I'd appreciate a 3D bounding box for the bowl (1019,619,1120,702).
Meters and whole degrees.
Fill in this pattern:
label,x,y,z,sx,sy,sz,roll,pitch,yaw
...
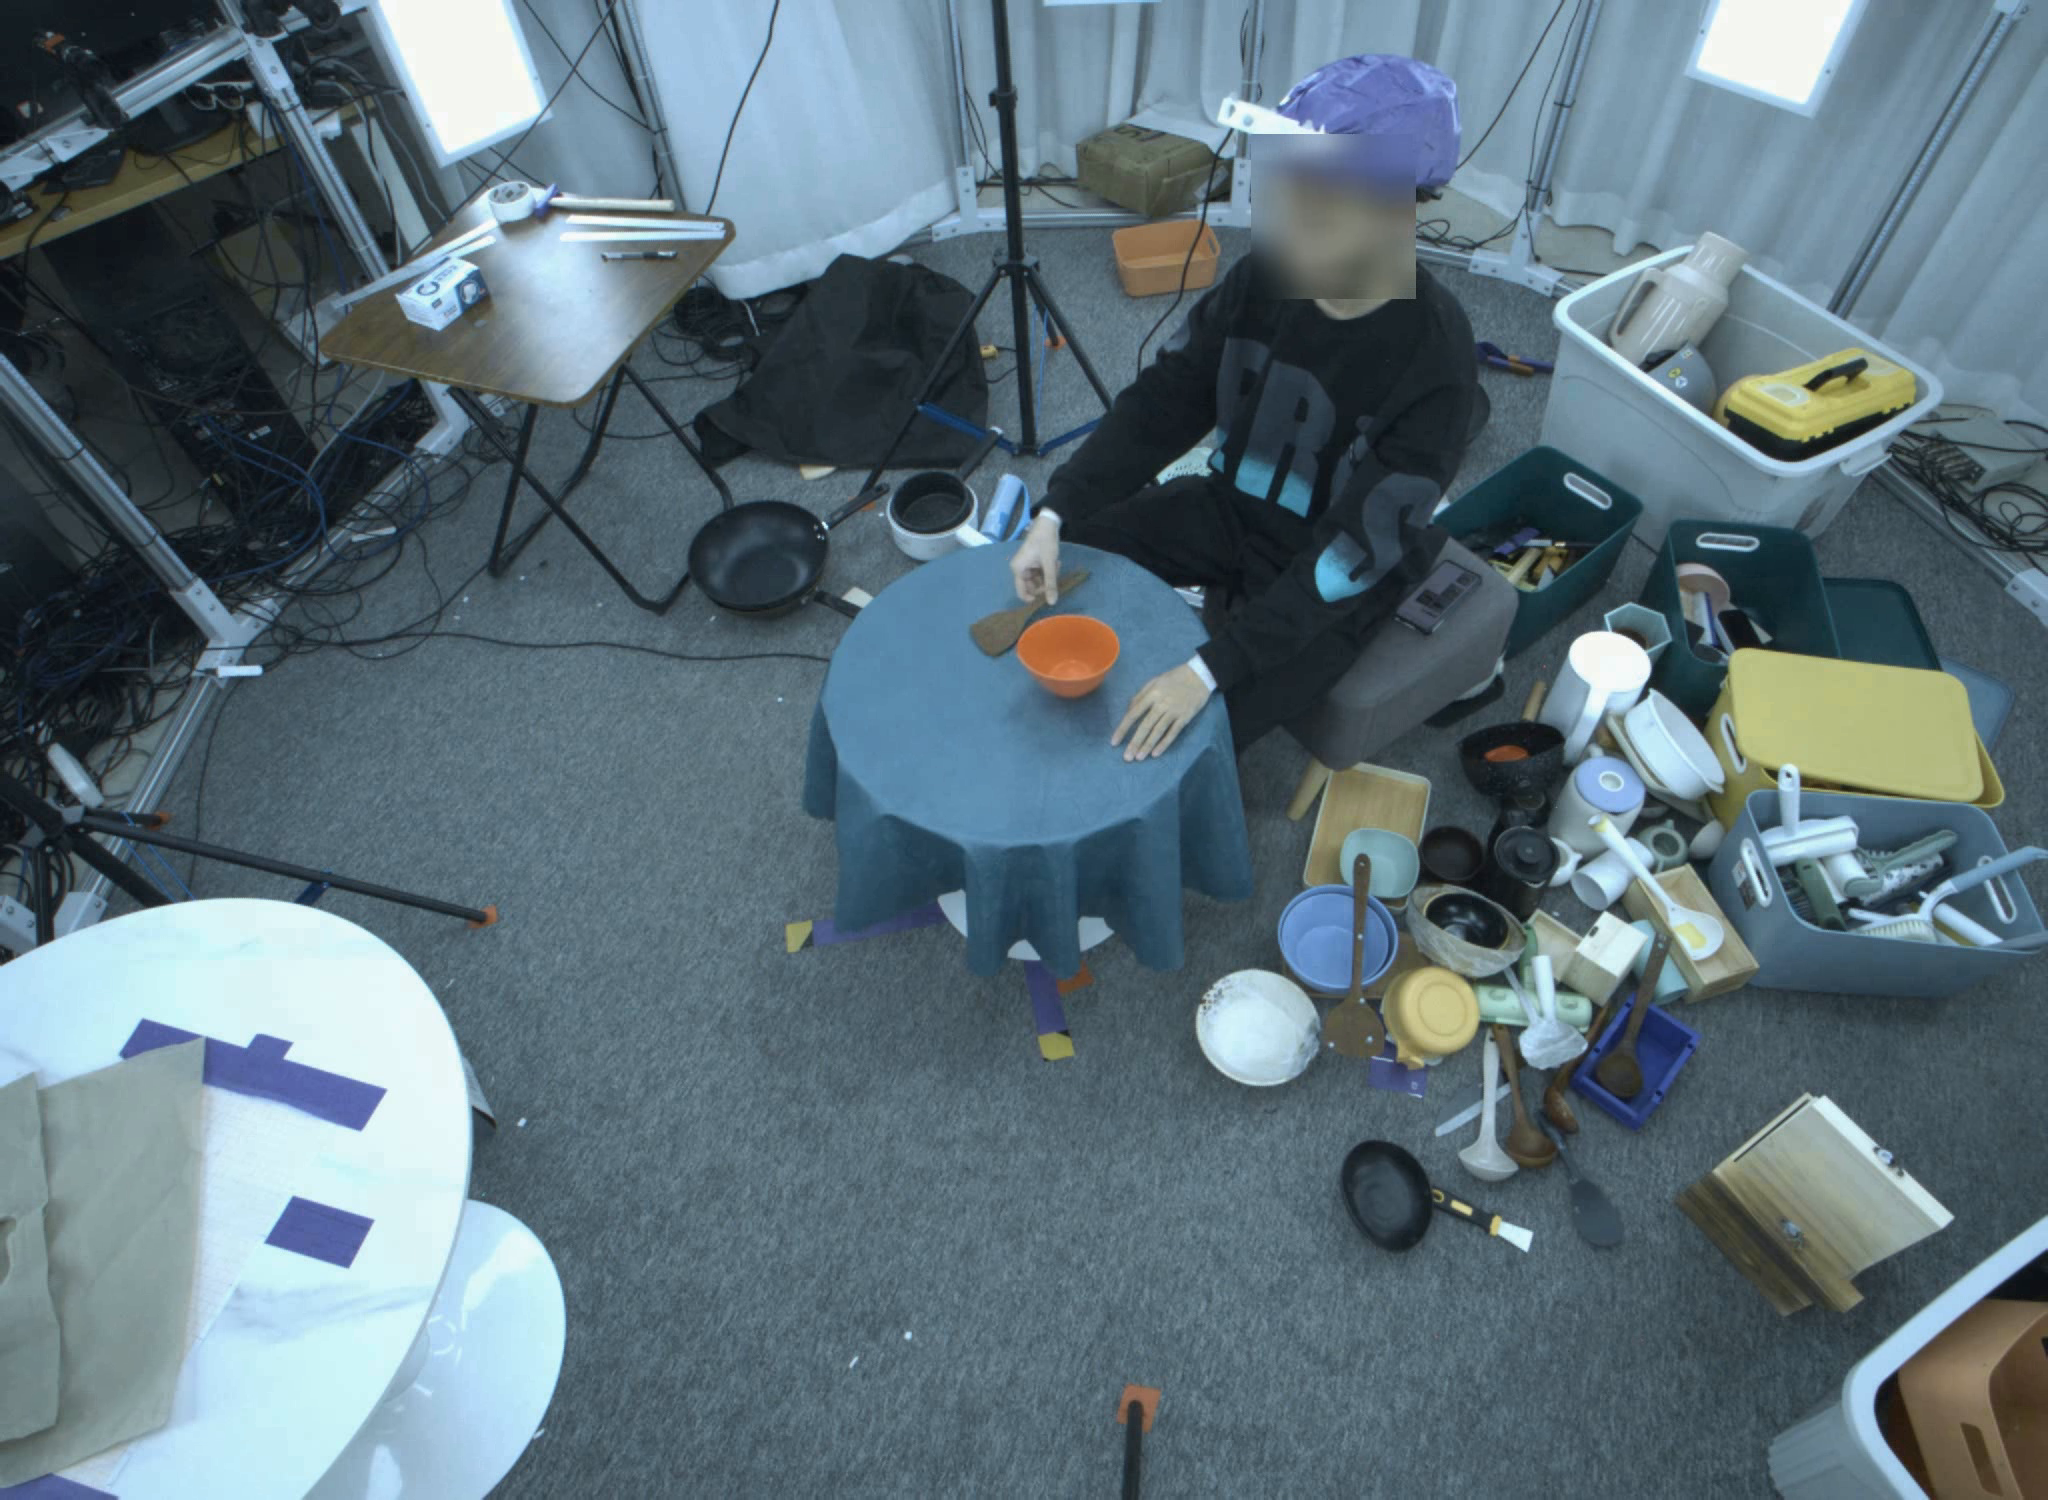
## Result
label,x,y,z,sx,sy,sz,roll,pitch,yaw
bowl,0.068,-0.120,1.820,0.148,0.106,0.146,-1,53,2

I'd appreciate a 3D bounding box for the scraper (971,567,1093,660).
label,x,y,z,sx,sy,sz,roll,pitch,yaw
scraper,0.017,-0.219,1.916,0.211,0.011,0.074,-35,64,-2
